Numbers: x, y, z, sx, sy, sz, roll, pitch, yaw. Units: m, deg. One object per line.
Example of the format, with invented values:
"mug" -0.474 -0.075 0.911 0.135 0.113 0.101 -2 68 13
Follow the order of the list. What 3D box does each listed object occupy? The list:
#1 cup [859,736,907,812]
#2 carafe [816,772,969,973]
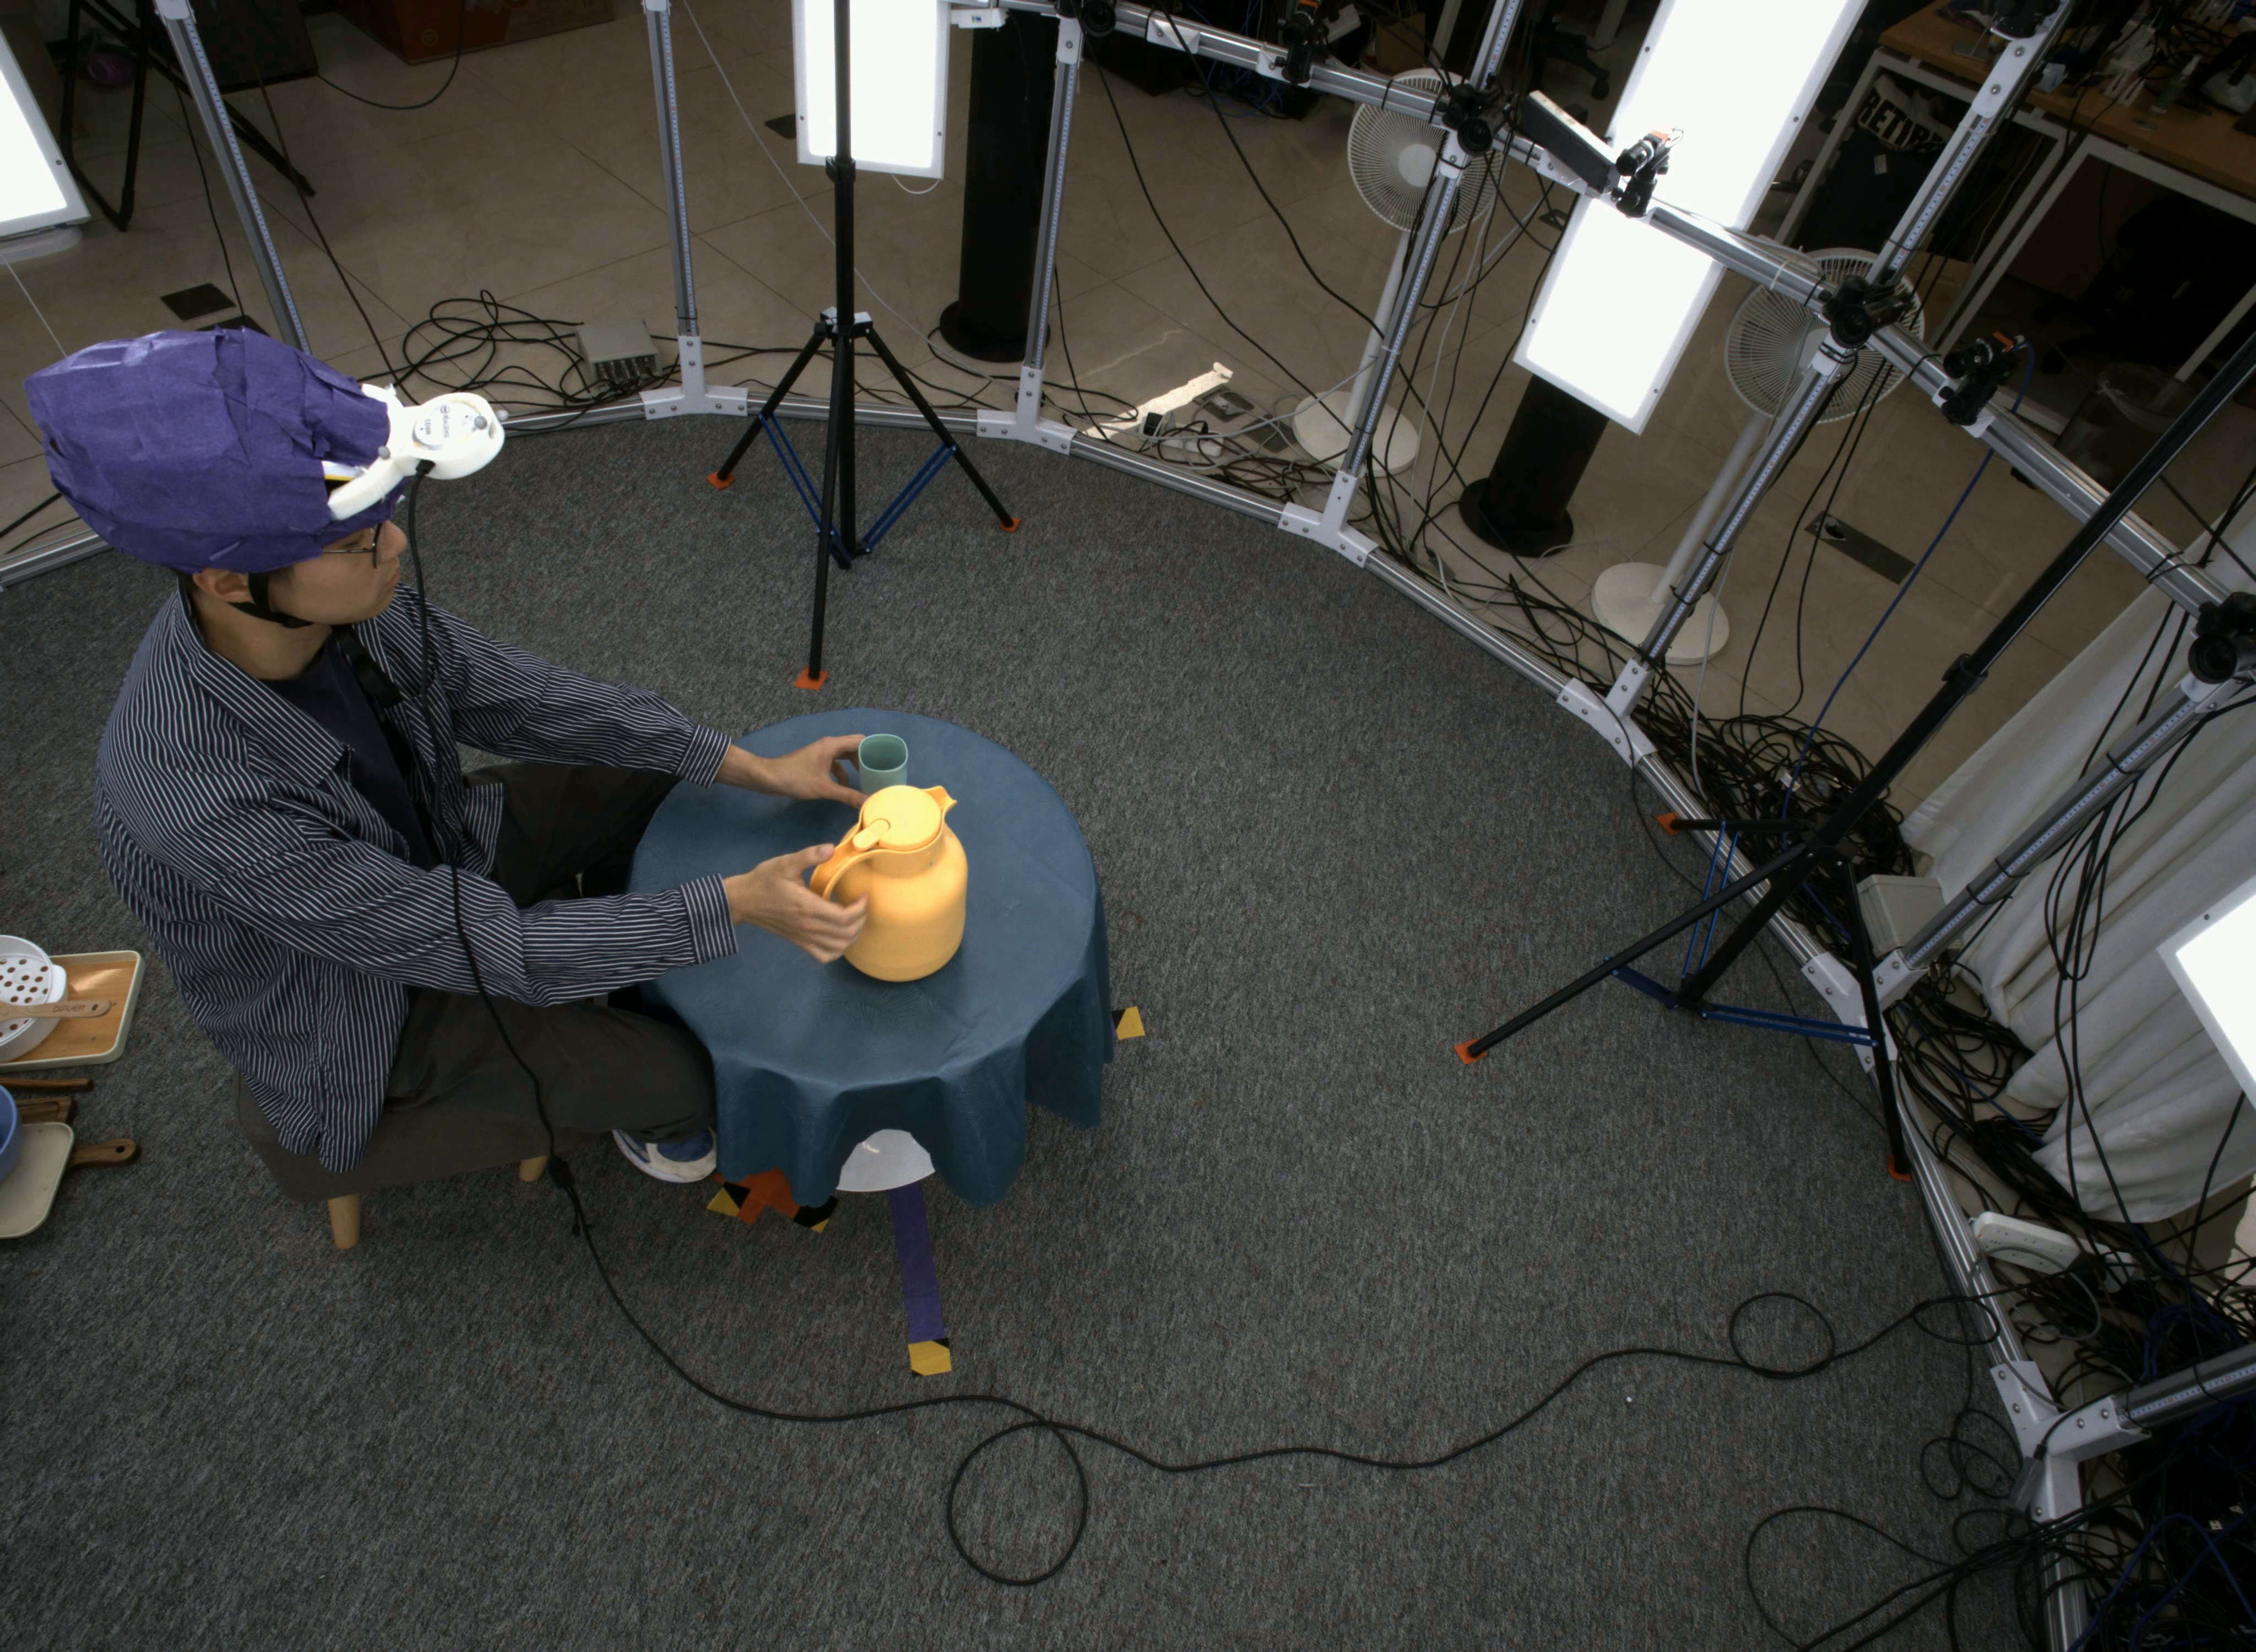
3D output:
"cup" -0.326 -0.053 1.725 0.066 0.135 0.065 5 53 -6
"carafe" -0.287 0.058 1.563 0.159 0.266 0.203 40 56 21
